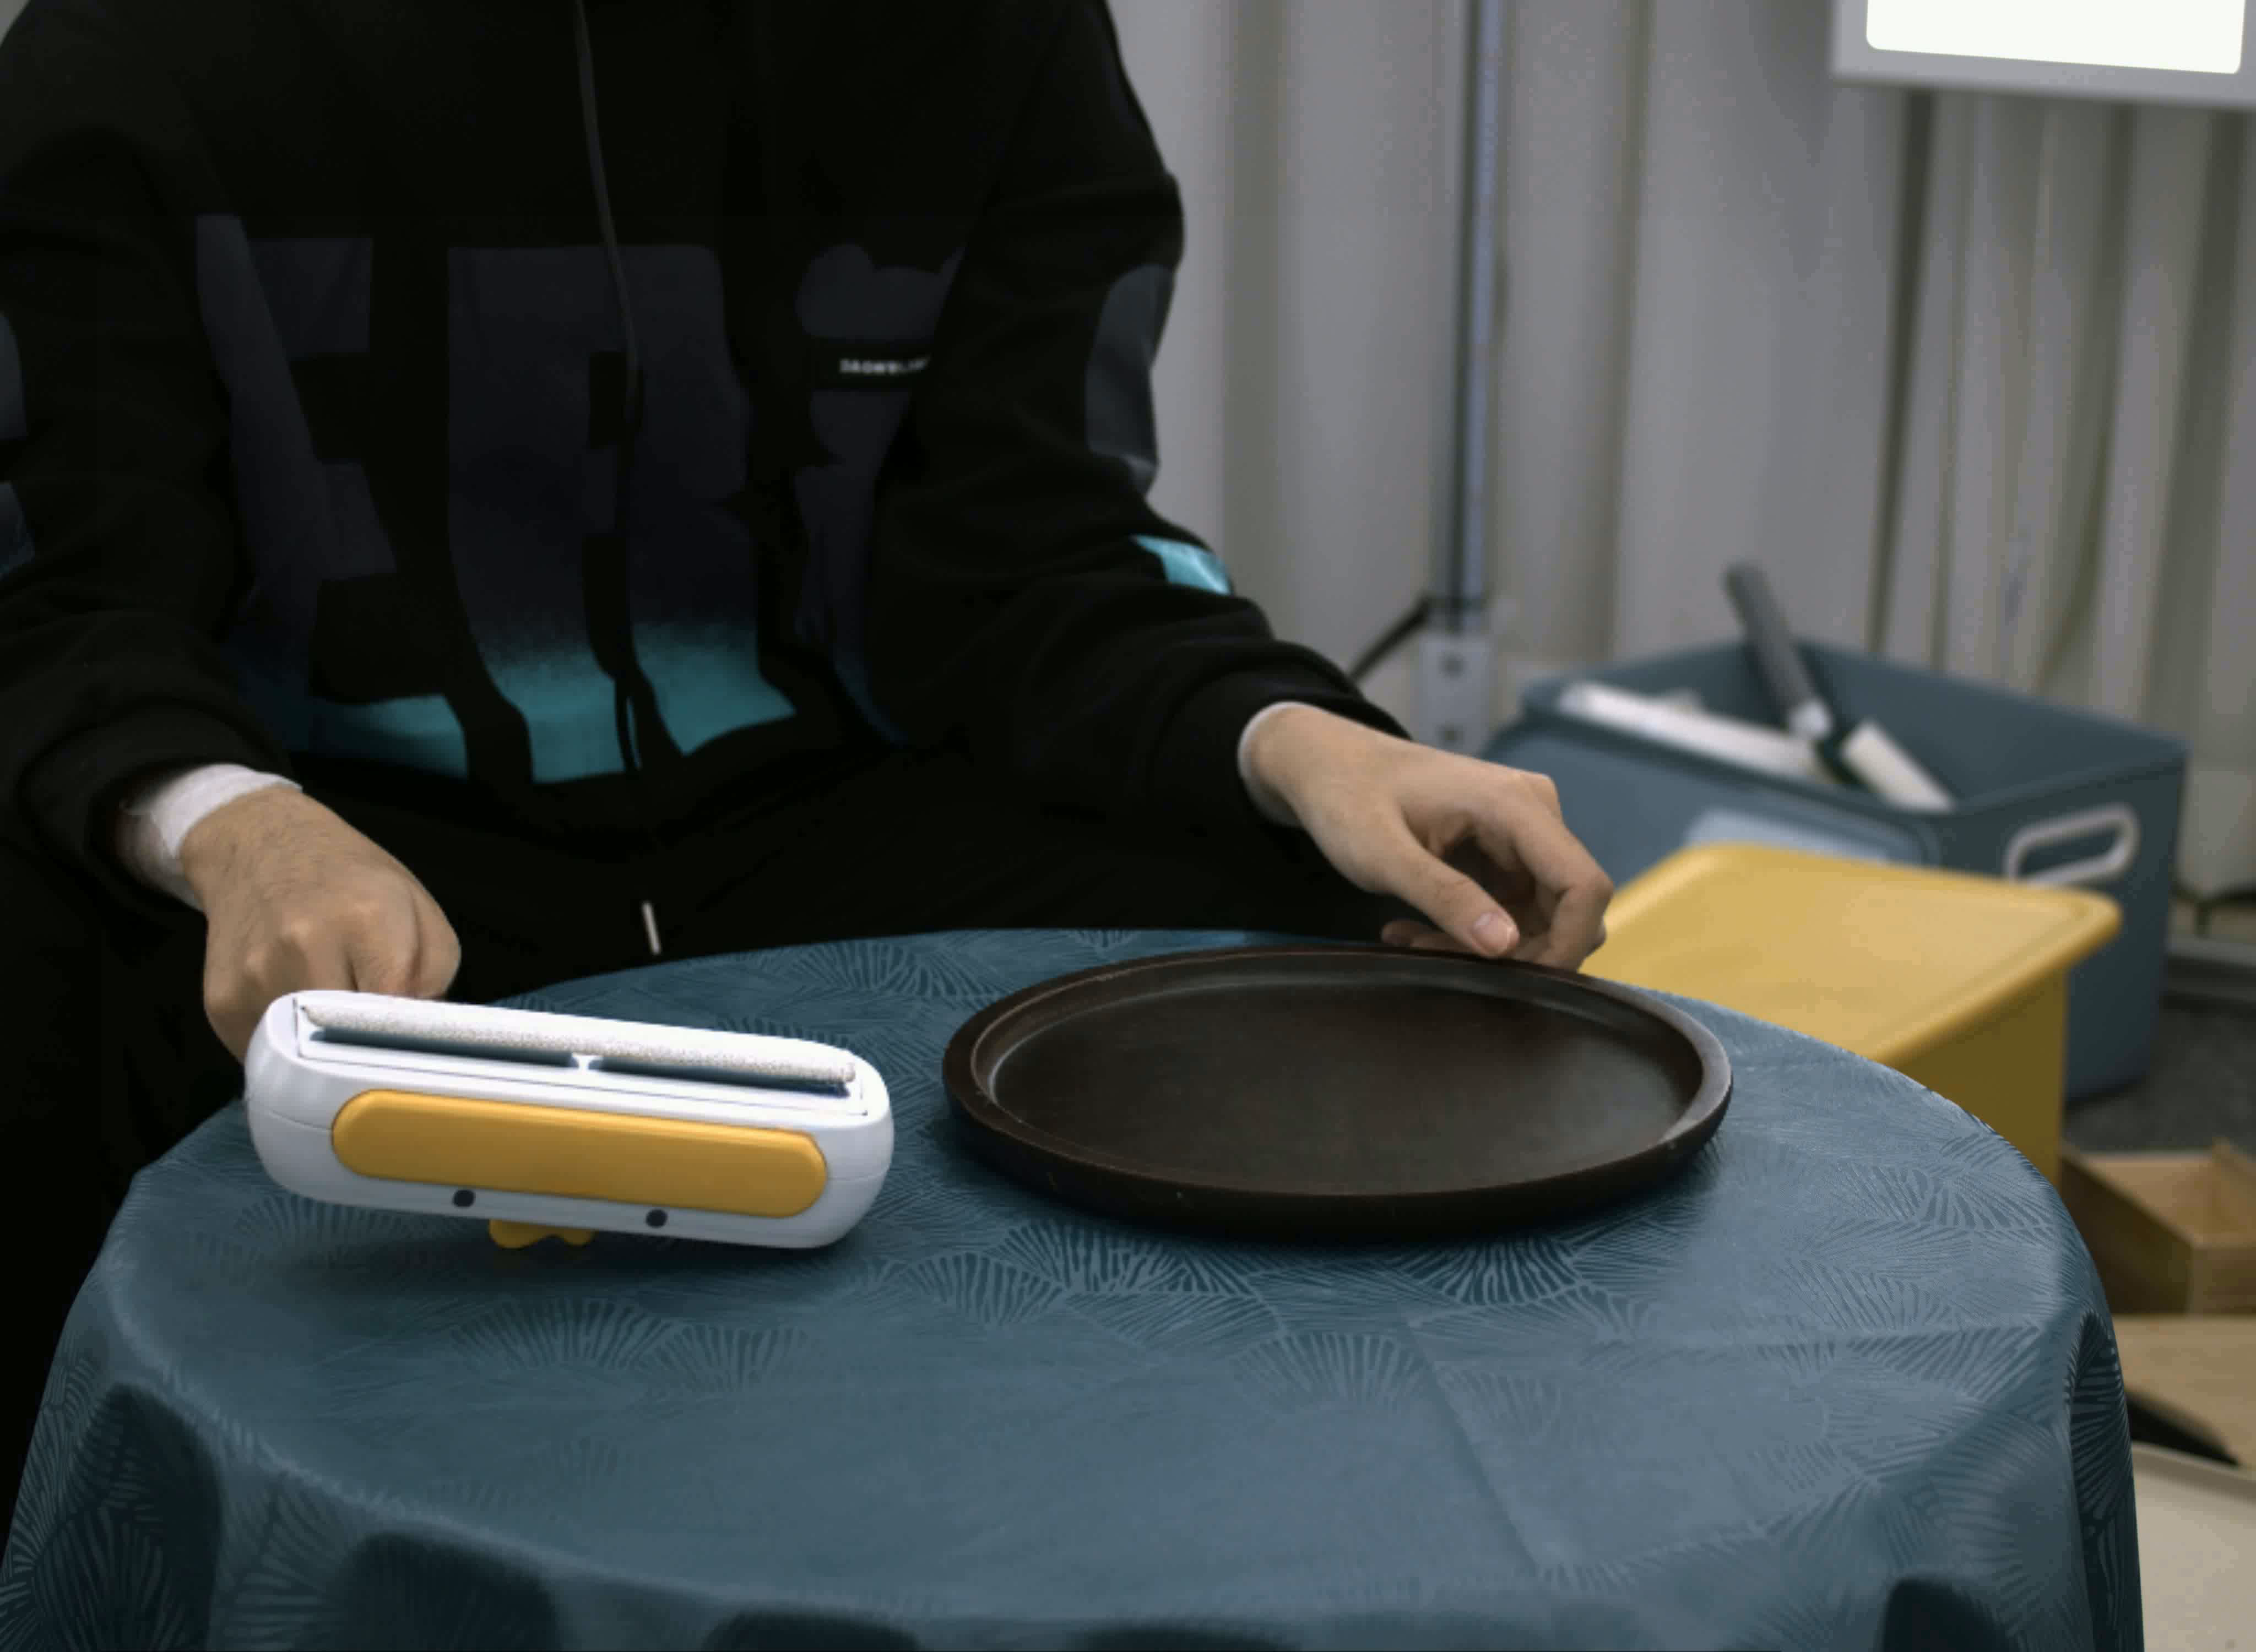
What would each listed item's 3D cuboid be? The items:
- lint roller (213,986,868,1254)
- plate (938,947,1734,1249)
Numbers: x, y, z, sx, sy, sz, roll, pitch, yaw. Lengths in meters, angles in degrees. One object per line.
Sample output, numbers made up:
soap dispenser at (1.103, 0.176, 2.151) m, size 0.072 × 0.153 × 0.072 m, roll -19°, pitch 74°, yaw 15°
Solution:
lint roller at (-0.181, 0.079, 1.608) m, size 0.193 × 0.075 × 0.191 m, roll 3°, pitch 13°, yaw -10°
plate at (0.066, 0.084, 1.680) m, size 0.254 × 0.029 × 0.253 m, roll 0°, pitch 15°, yaw 1°
